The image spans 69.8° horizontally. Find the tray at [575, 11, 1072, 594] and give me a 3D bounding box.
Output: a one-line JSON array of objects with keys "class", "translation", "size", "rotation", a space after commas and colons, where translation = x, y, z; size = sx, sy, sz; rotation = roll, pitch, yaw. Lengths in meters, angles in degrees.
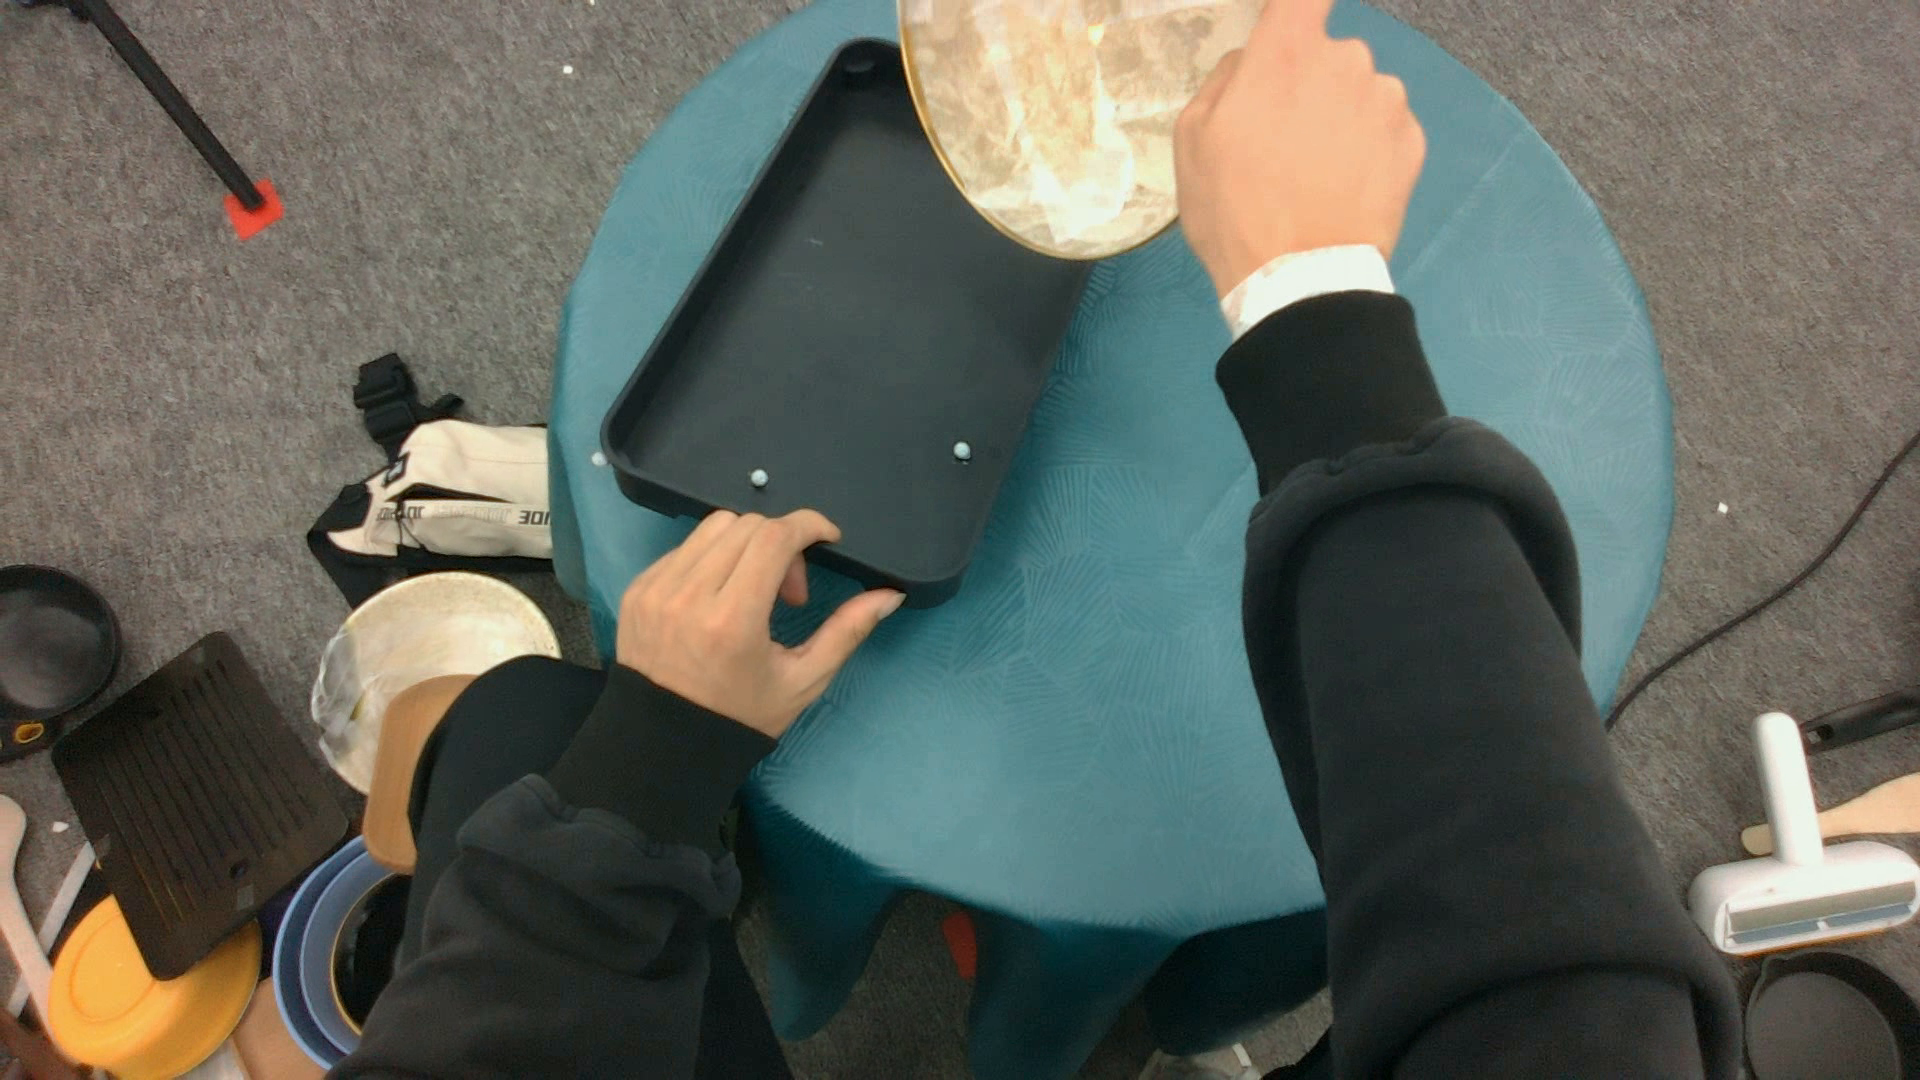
[{"class": "tray", "translation": [-0.044, -0.135, 0.708], "size": [0.184, 0.037, 0.319], "rotation": [22, 62, 4]}]

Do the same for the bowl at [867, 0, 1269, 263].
[{"class": "bowl", "translation": [0.060, -0.233, 0.614], "size": [0.095, 0.213, 0.215], "rotation": [-26, 69, -39]}]
